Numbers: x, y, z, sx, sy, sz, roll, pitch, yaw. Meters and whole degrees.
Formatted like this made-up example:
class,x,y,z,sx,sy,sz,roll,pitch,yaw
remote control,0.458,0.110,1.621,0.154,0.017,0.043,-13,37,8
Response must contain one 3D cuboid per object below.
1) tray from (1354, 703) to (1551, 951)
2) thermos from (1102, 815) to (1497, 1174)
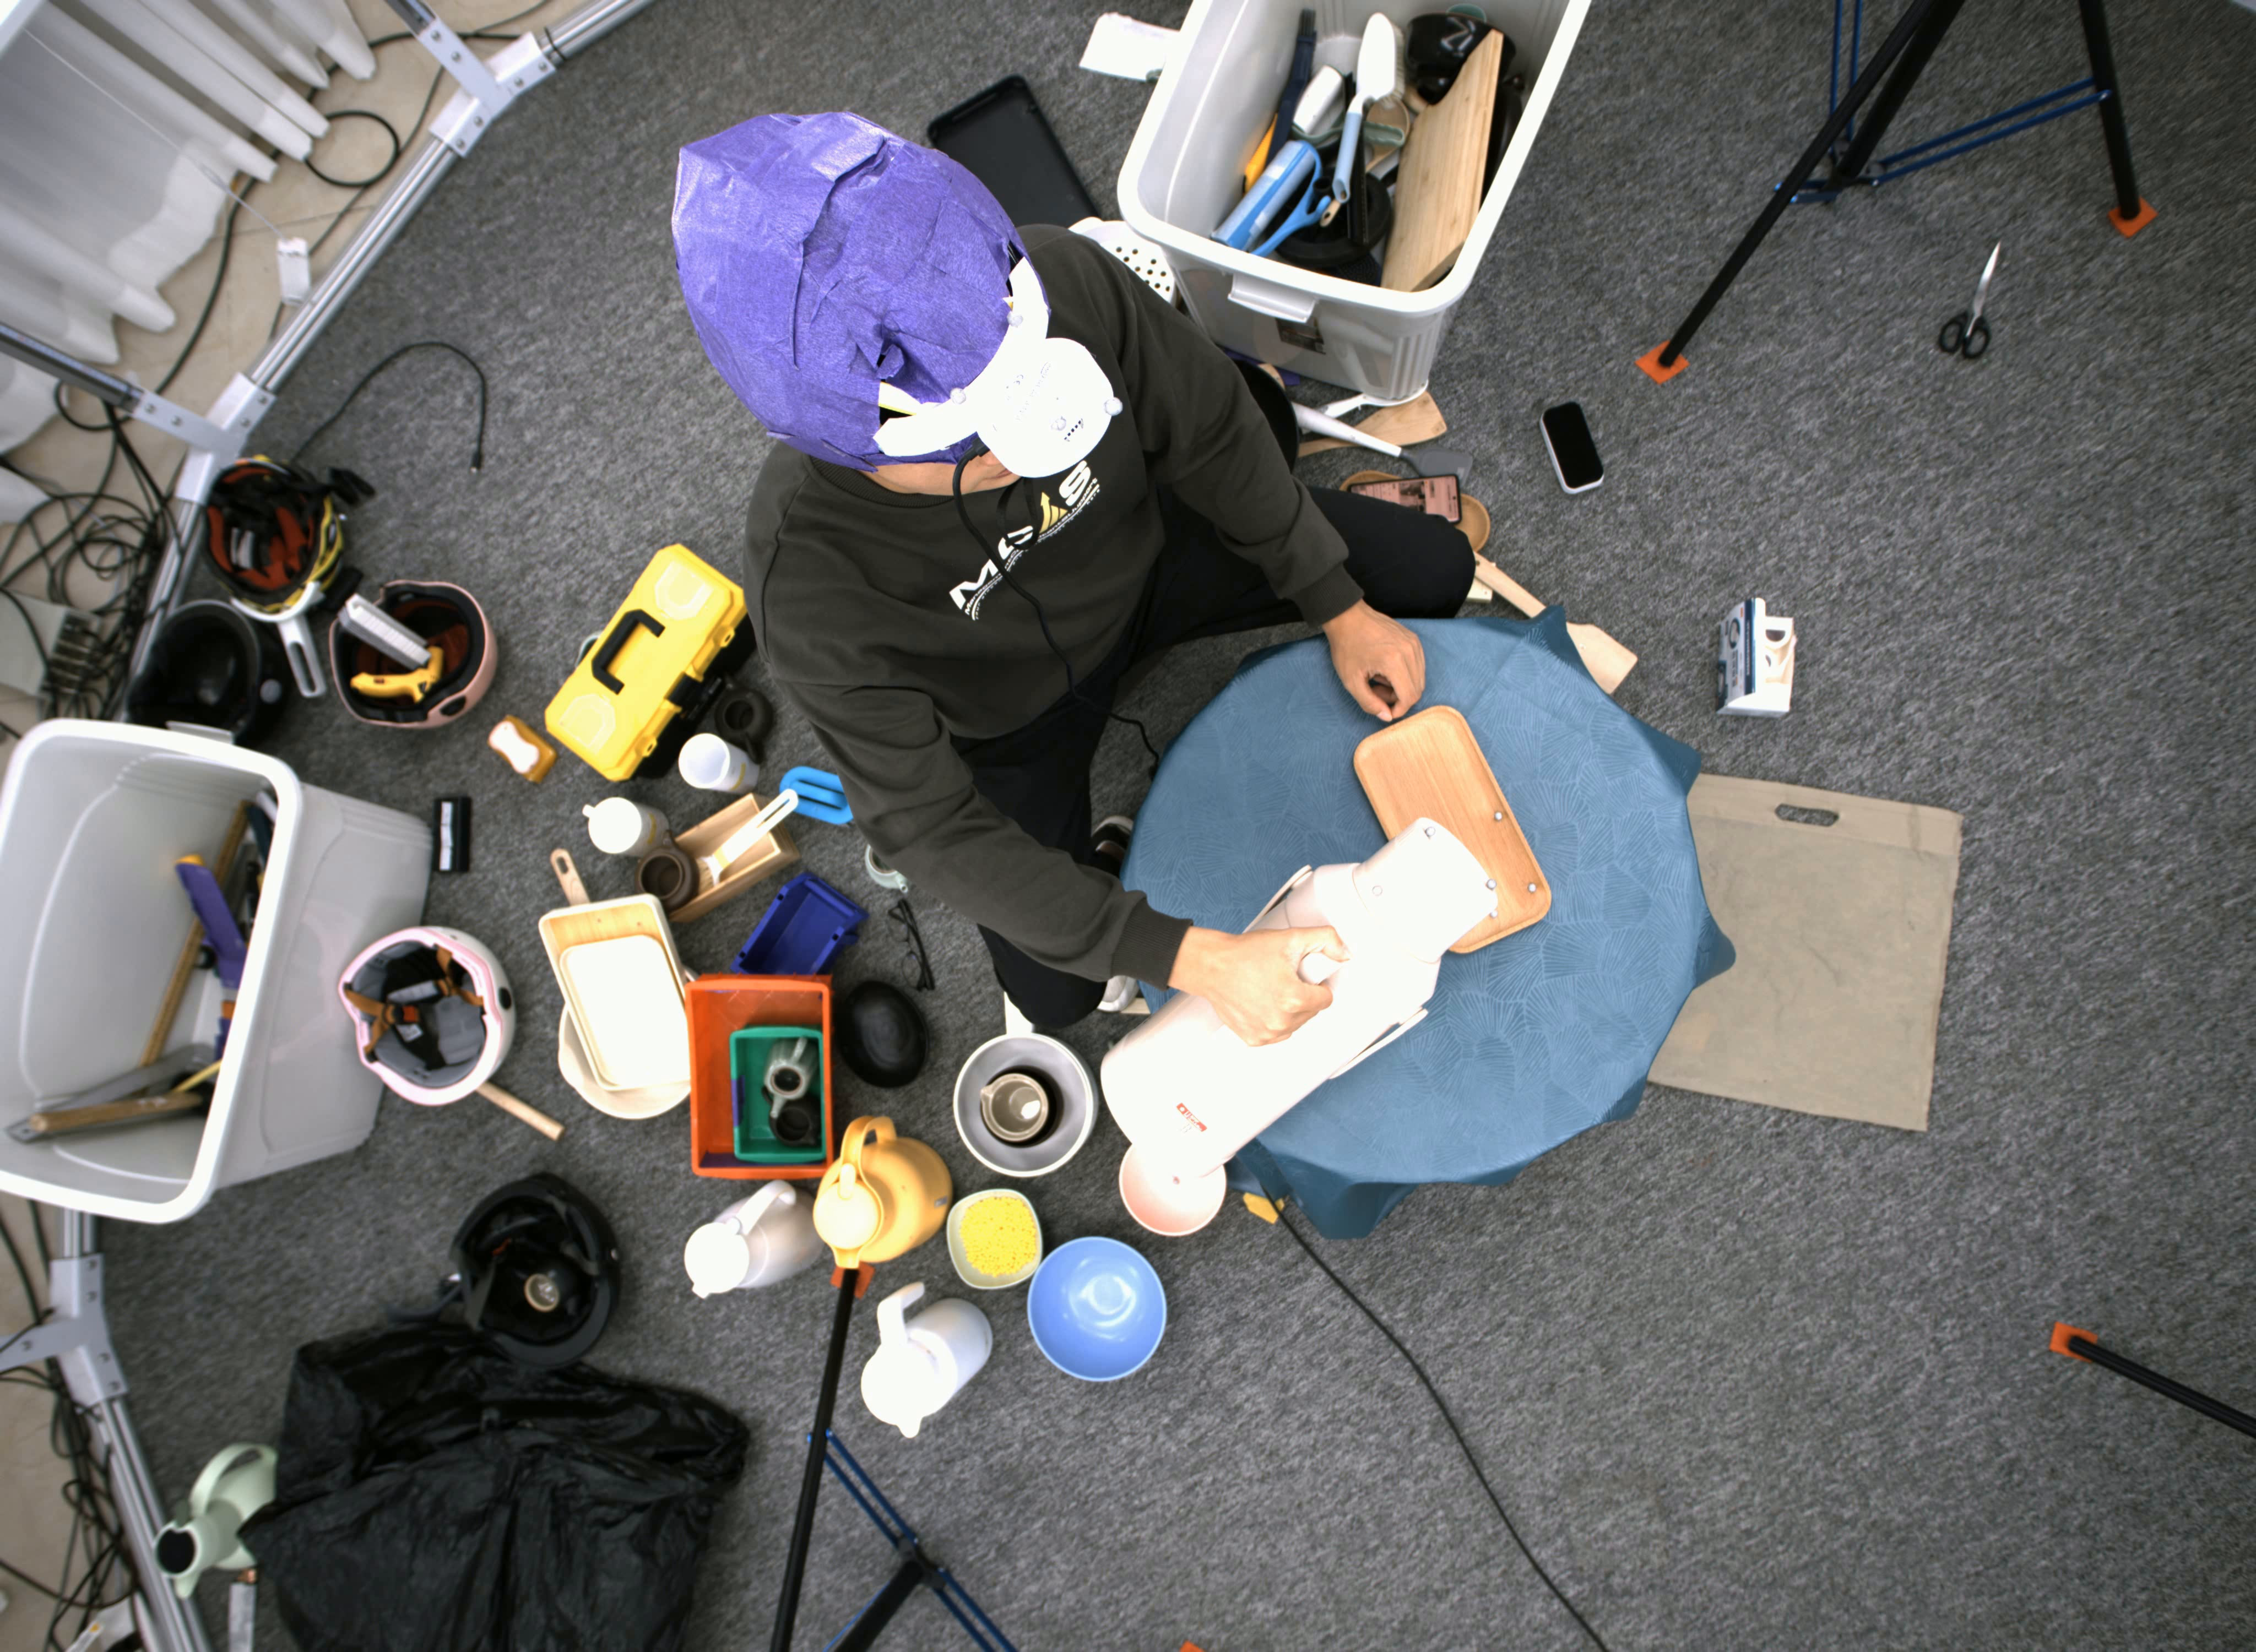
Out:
class,x,y,z,sx,sy,sz,roll,pitch,yaw
tray,0.339,-0.001,1.443,0.131,0.023,0.249,-24,82,6
thermos,0.153,0.156,1.295,0.414,0.204,0.174,-43,76,27
